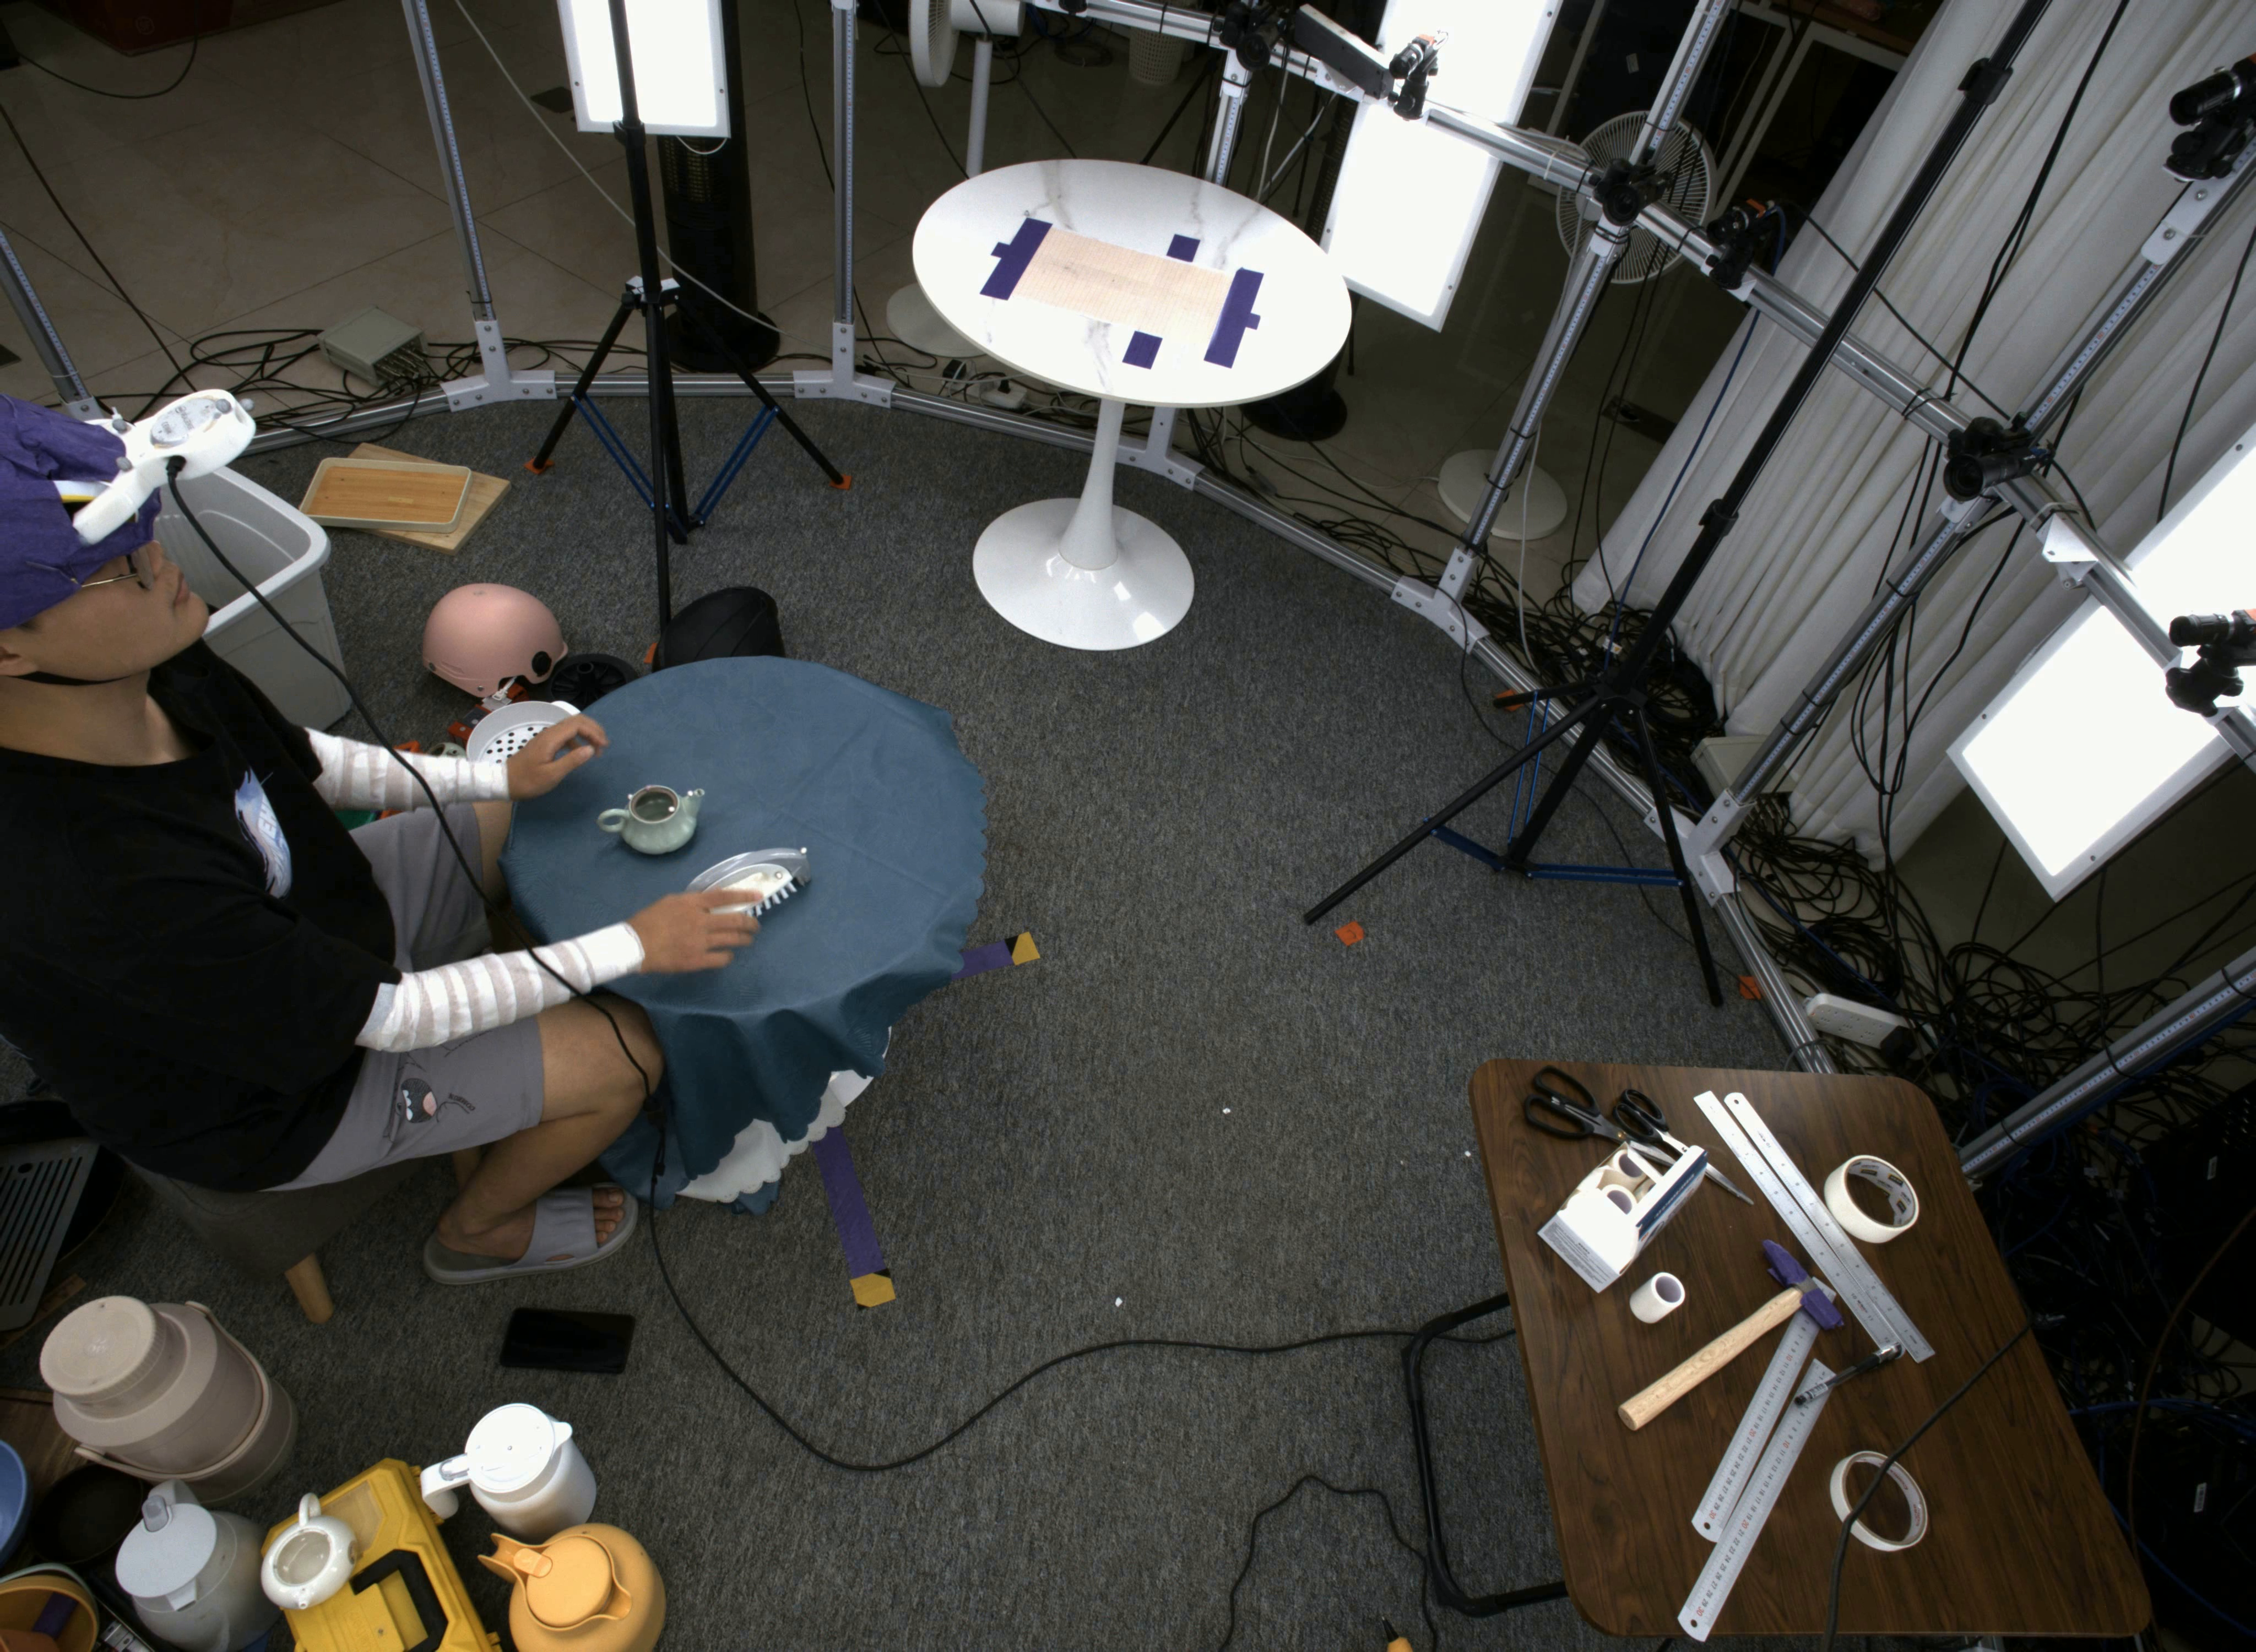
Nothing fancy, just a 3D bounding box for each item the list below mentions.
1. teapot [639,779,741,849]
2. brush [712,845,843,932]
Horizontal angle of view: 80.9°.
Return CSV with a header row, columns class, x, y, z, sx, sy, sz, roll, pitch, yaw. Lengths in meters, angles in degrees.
class,x,y,z,sx,sy,sz,roll,pitch,yaw
teapot,-0.568,-0.021,1.675,0.137,0.062,0.094,-16,61,-23
brush,-0.437,0.059,1.629,0.176,0.096,0.060,-23,64,-29
